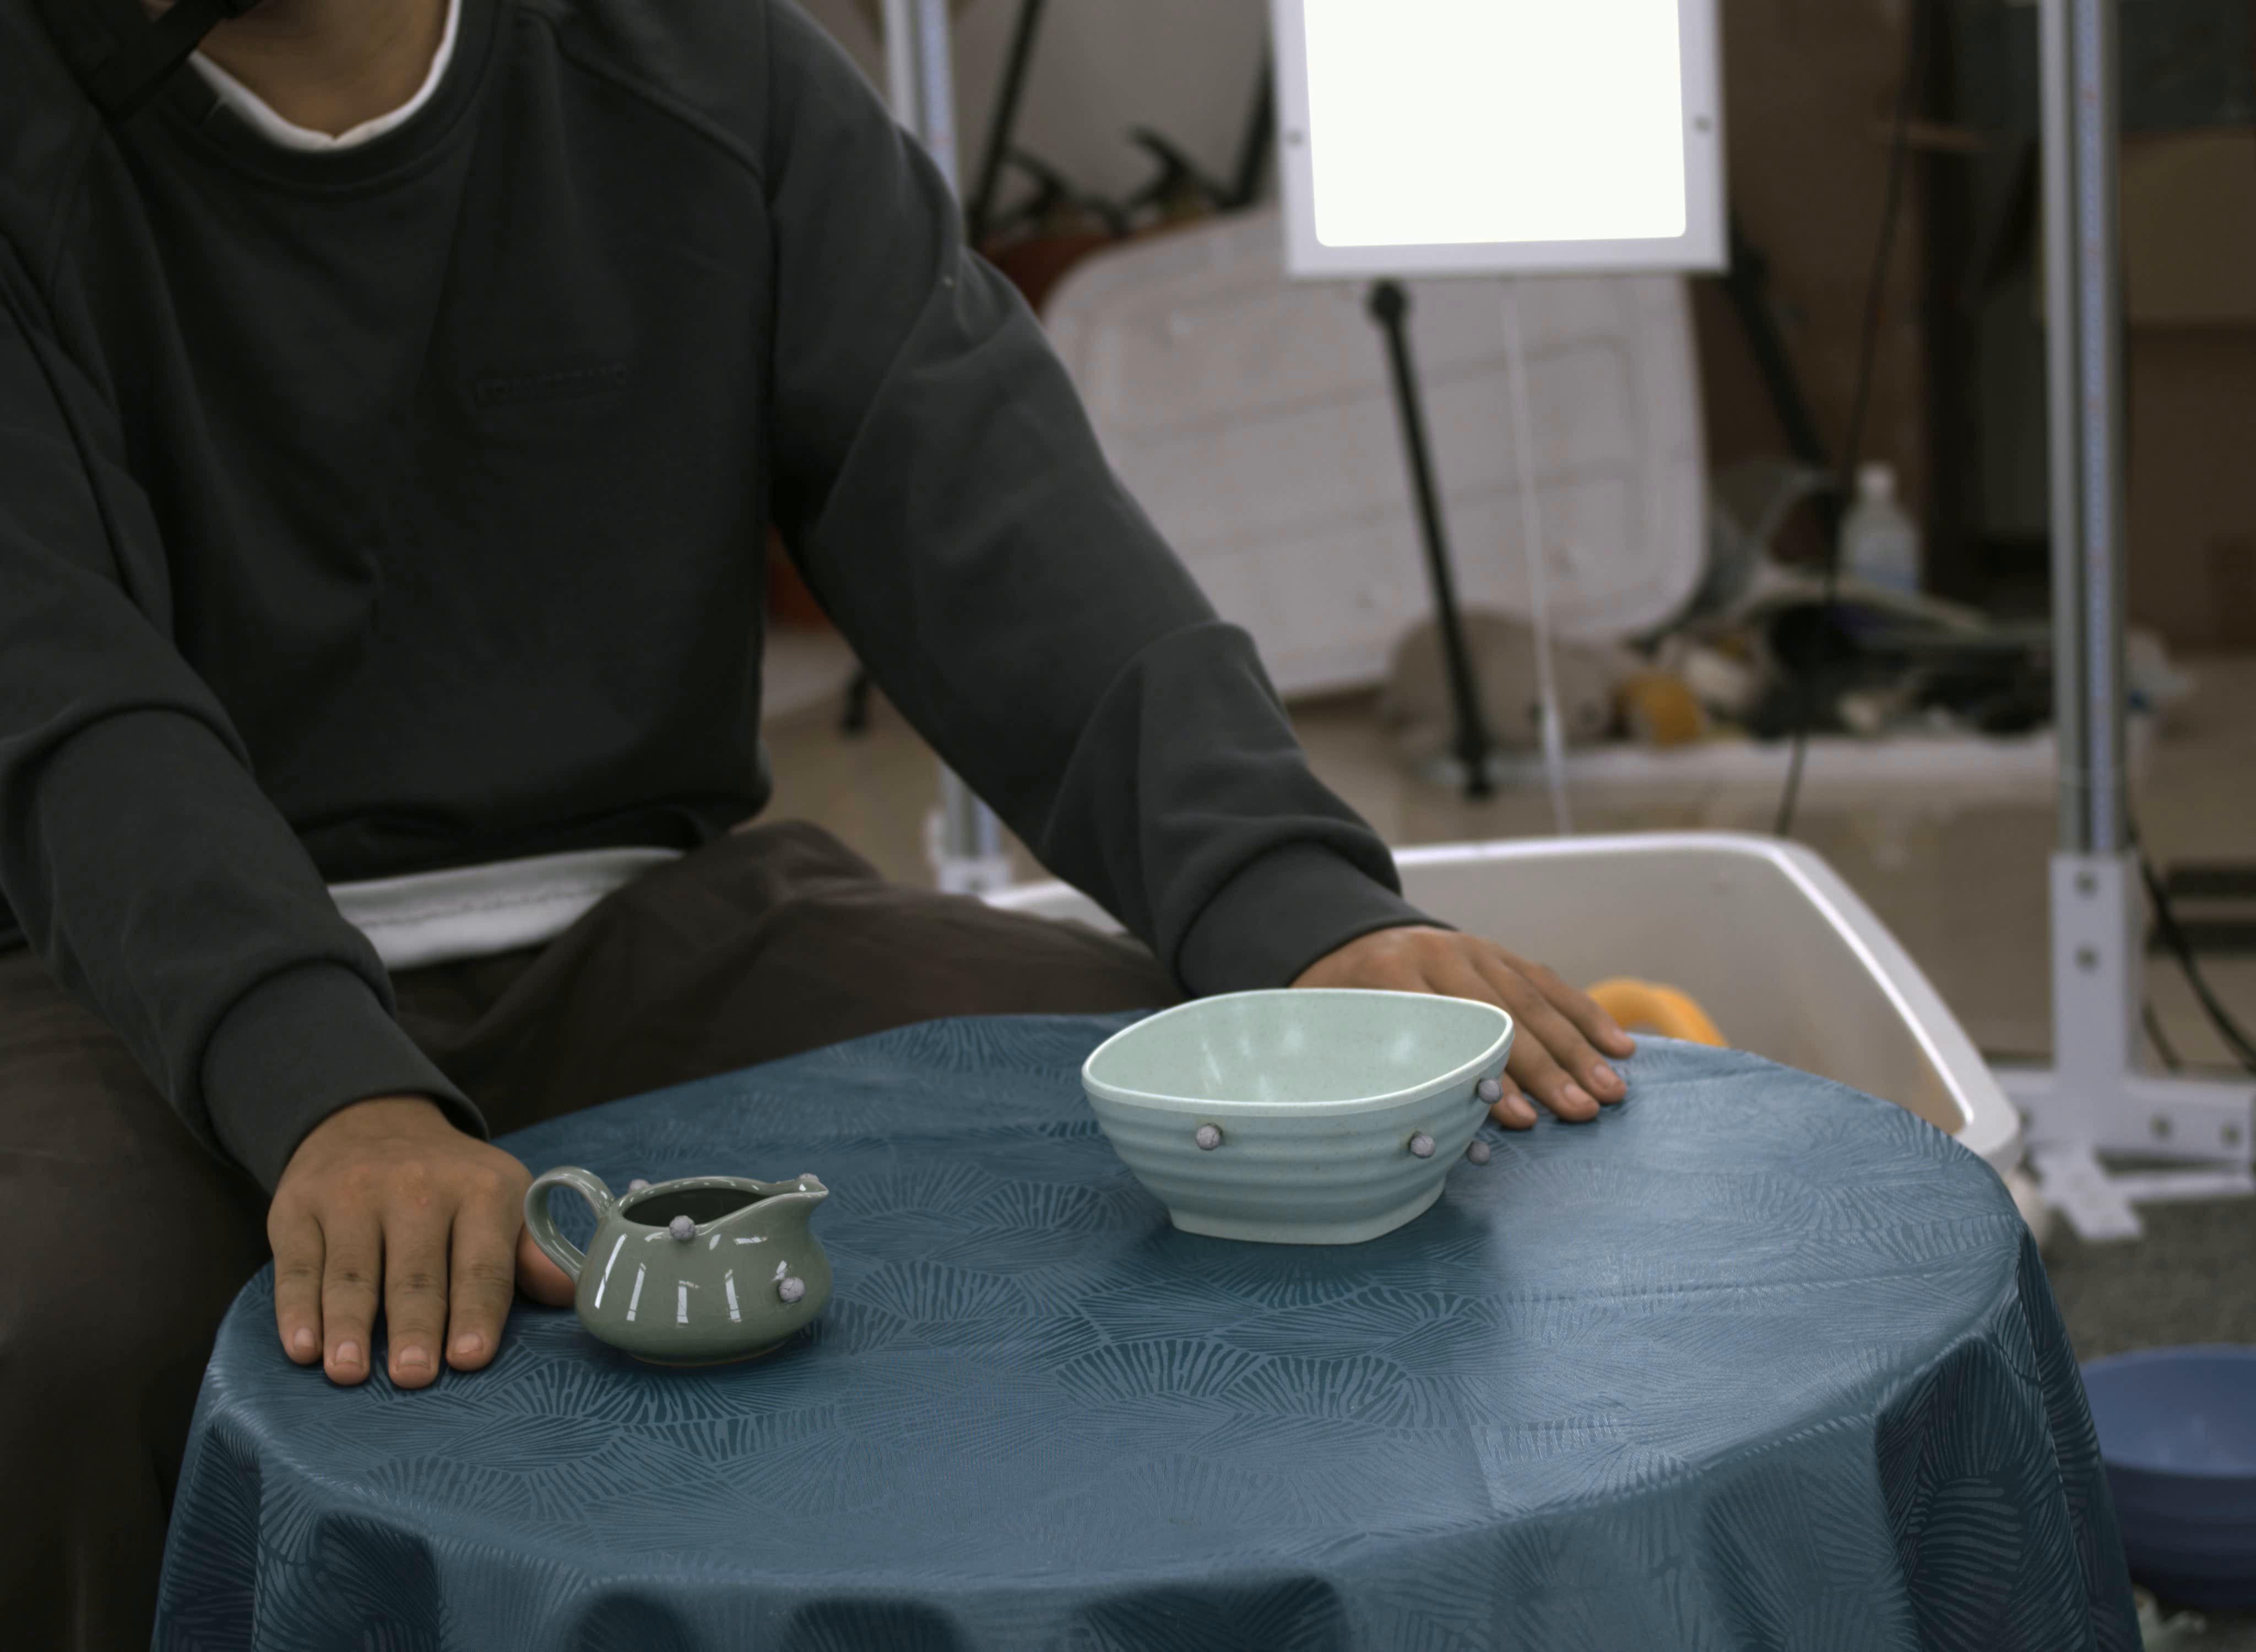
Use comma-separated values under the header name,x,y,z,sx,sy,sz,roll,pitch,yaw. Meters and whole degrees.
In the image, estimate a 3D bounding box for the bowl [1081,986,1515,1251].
name,x,y,z,sx,sy,sz,roll,pitch,yaw
bowl,0.060,0.102,1.863,0.151,0.059,0.151,-4,14,0

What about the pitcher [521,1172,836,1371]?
name,x,y,z,sx,sy,sz,roll,pitch,yaw
pitcher,-0.143,0.141,1.778,0.114,0.056,0.082,1,14,25
